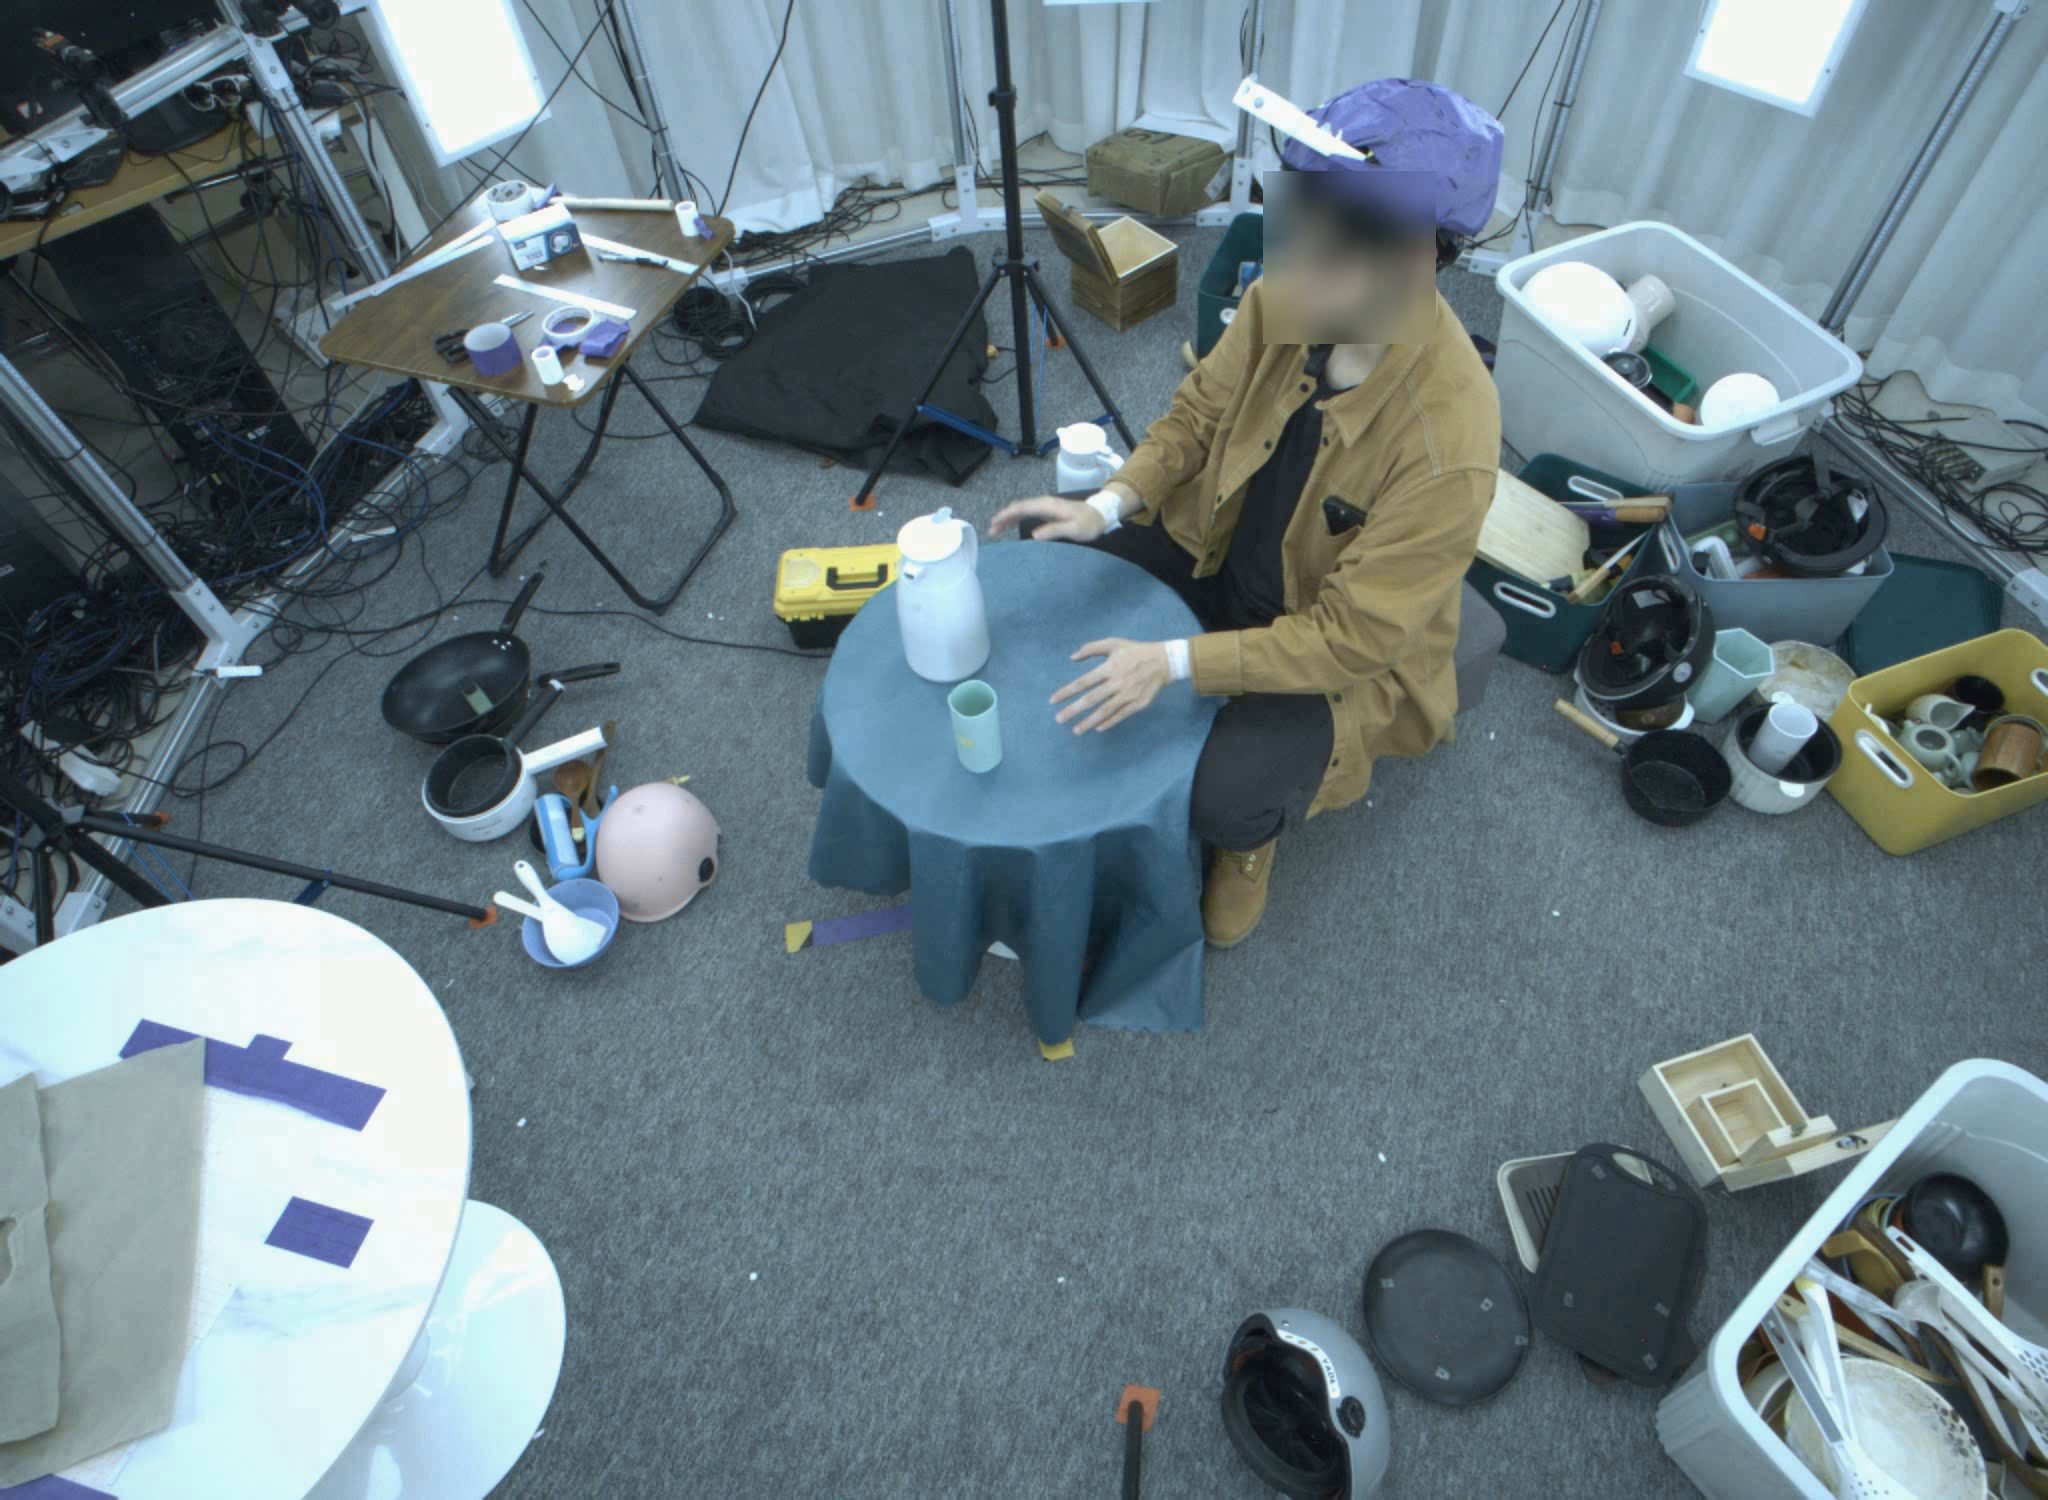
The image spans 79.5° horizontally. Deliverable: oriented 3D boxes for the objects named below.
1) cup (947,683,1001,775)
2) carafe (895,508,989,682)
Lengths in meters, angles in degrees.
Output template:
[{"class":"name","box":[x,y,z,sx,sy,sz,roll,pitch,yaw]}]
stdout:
[{"class":"cup","box":[-0.067,-0.030,1.730,0.066,0.134,0.066,-1,55,3]},{"class":"carafe","box":[-0.120,-0.242,1.807,0.131,0.251,0.168,20,57,17]}]
